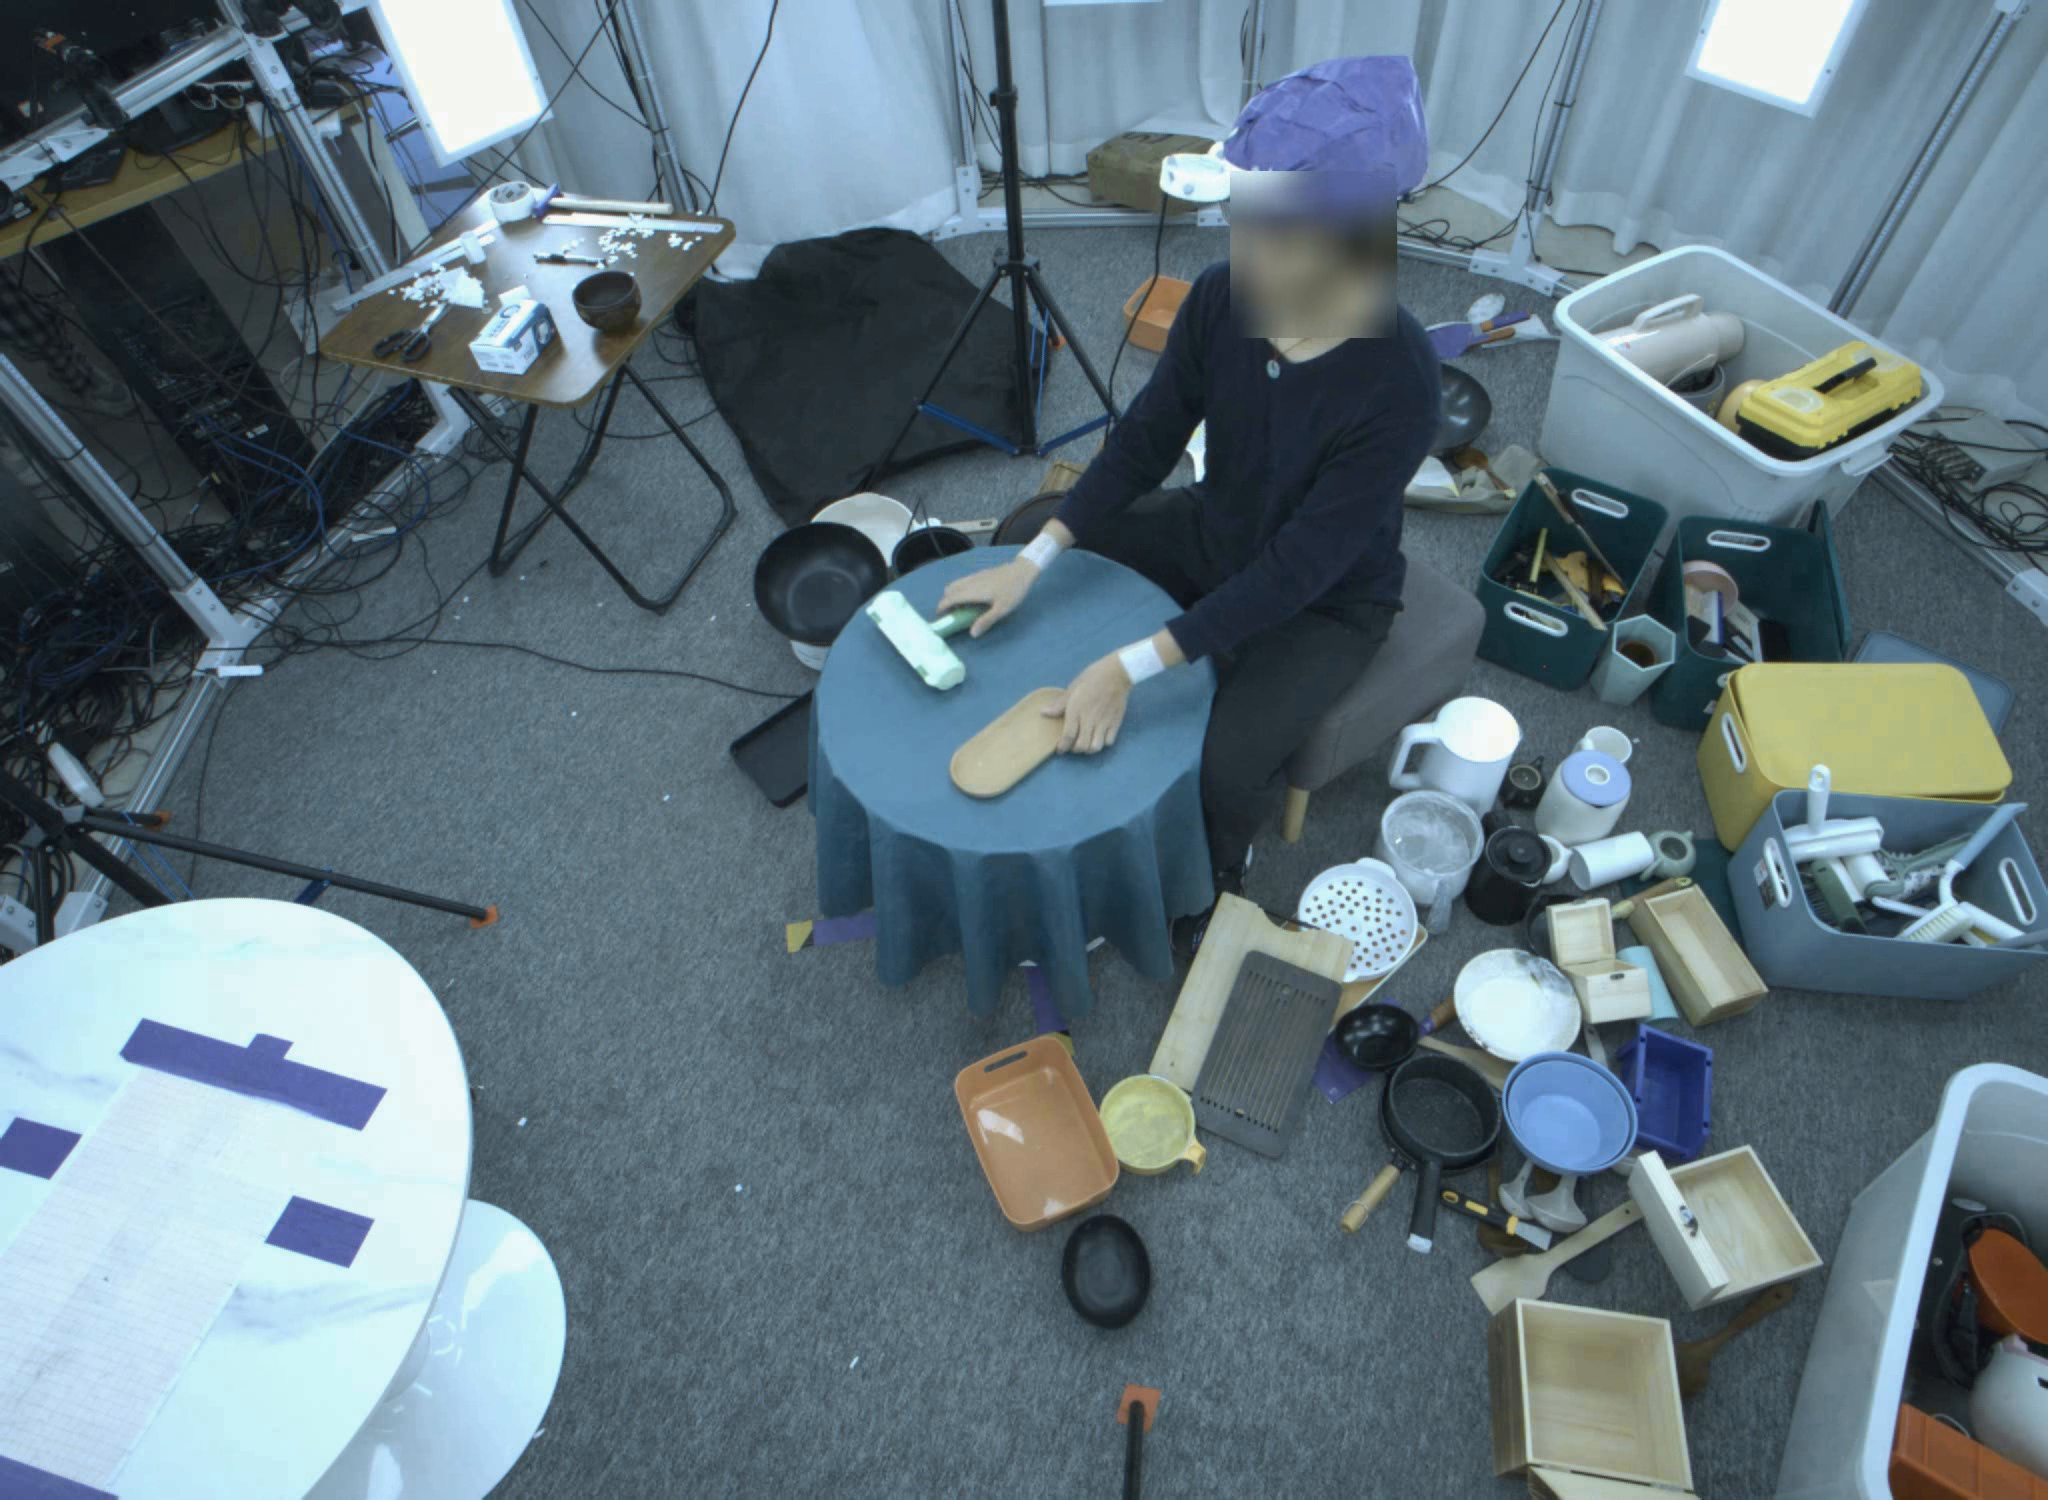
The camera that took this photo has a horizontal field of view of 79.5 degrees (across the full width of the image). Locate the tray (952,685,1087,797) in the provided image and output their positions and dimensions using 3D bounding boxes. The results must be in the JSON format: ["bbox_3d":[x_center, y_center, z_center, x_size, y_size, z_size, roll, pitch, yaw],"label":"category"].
[{"bbox_3d":[-0.006,-0.014,1.787,0.233,0.020,0.100,-38,62,-24],"label":"tray"}]

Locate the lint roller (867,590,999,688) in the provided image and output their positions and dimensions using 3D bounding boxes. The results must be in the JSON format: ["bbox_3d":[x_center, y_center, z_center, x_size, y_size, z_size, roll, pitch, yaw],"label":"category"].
[{"bbox_3d":[-0.119,-0.206,1.883,0.184,0.083,0.195,-35,61,-13],"label":"lint roller"}]
